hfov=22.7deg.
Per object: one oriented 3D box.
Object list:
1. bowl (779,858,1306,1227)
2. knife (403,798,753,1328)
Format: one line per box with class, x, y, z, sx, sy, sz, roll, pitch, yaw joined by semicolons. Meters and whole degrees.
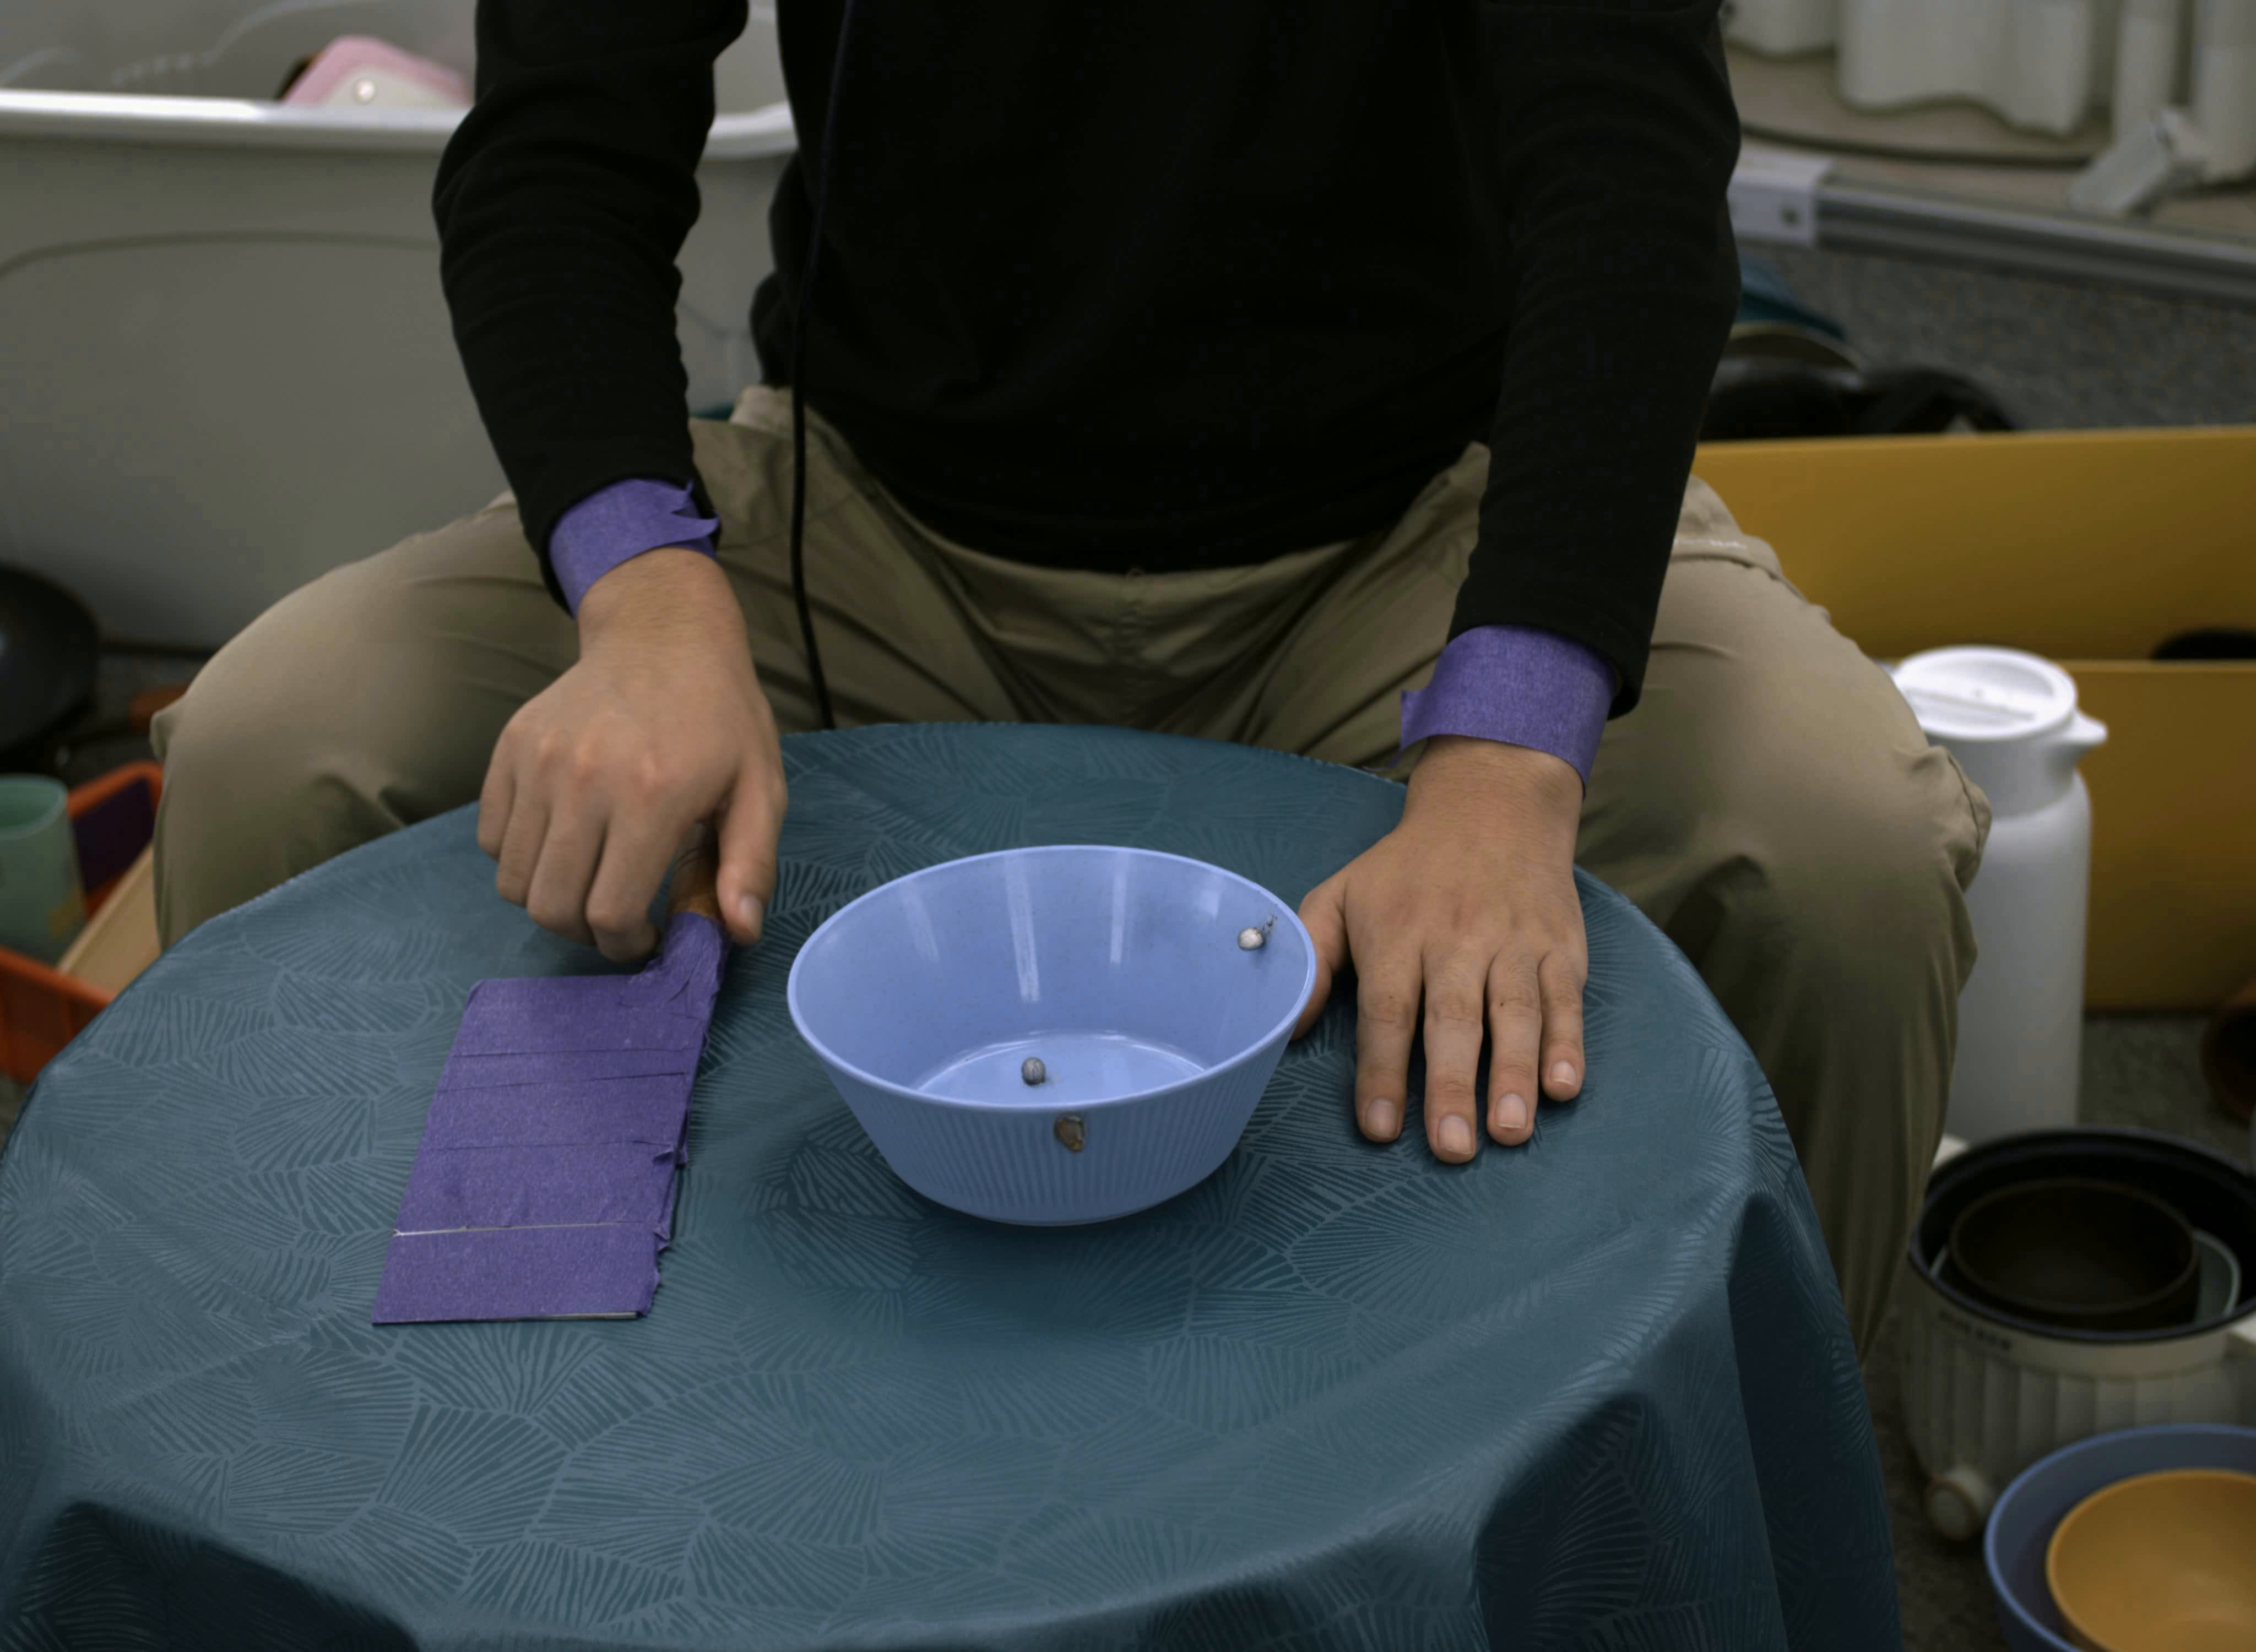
bowl;-0.028;0.078;1.871;0.175;0.069;0.178;-1;26;1
knife;-0.189;0.078;1.934;0.103;0.032;0.320;-1;28;3
